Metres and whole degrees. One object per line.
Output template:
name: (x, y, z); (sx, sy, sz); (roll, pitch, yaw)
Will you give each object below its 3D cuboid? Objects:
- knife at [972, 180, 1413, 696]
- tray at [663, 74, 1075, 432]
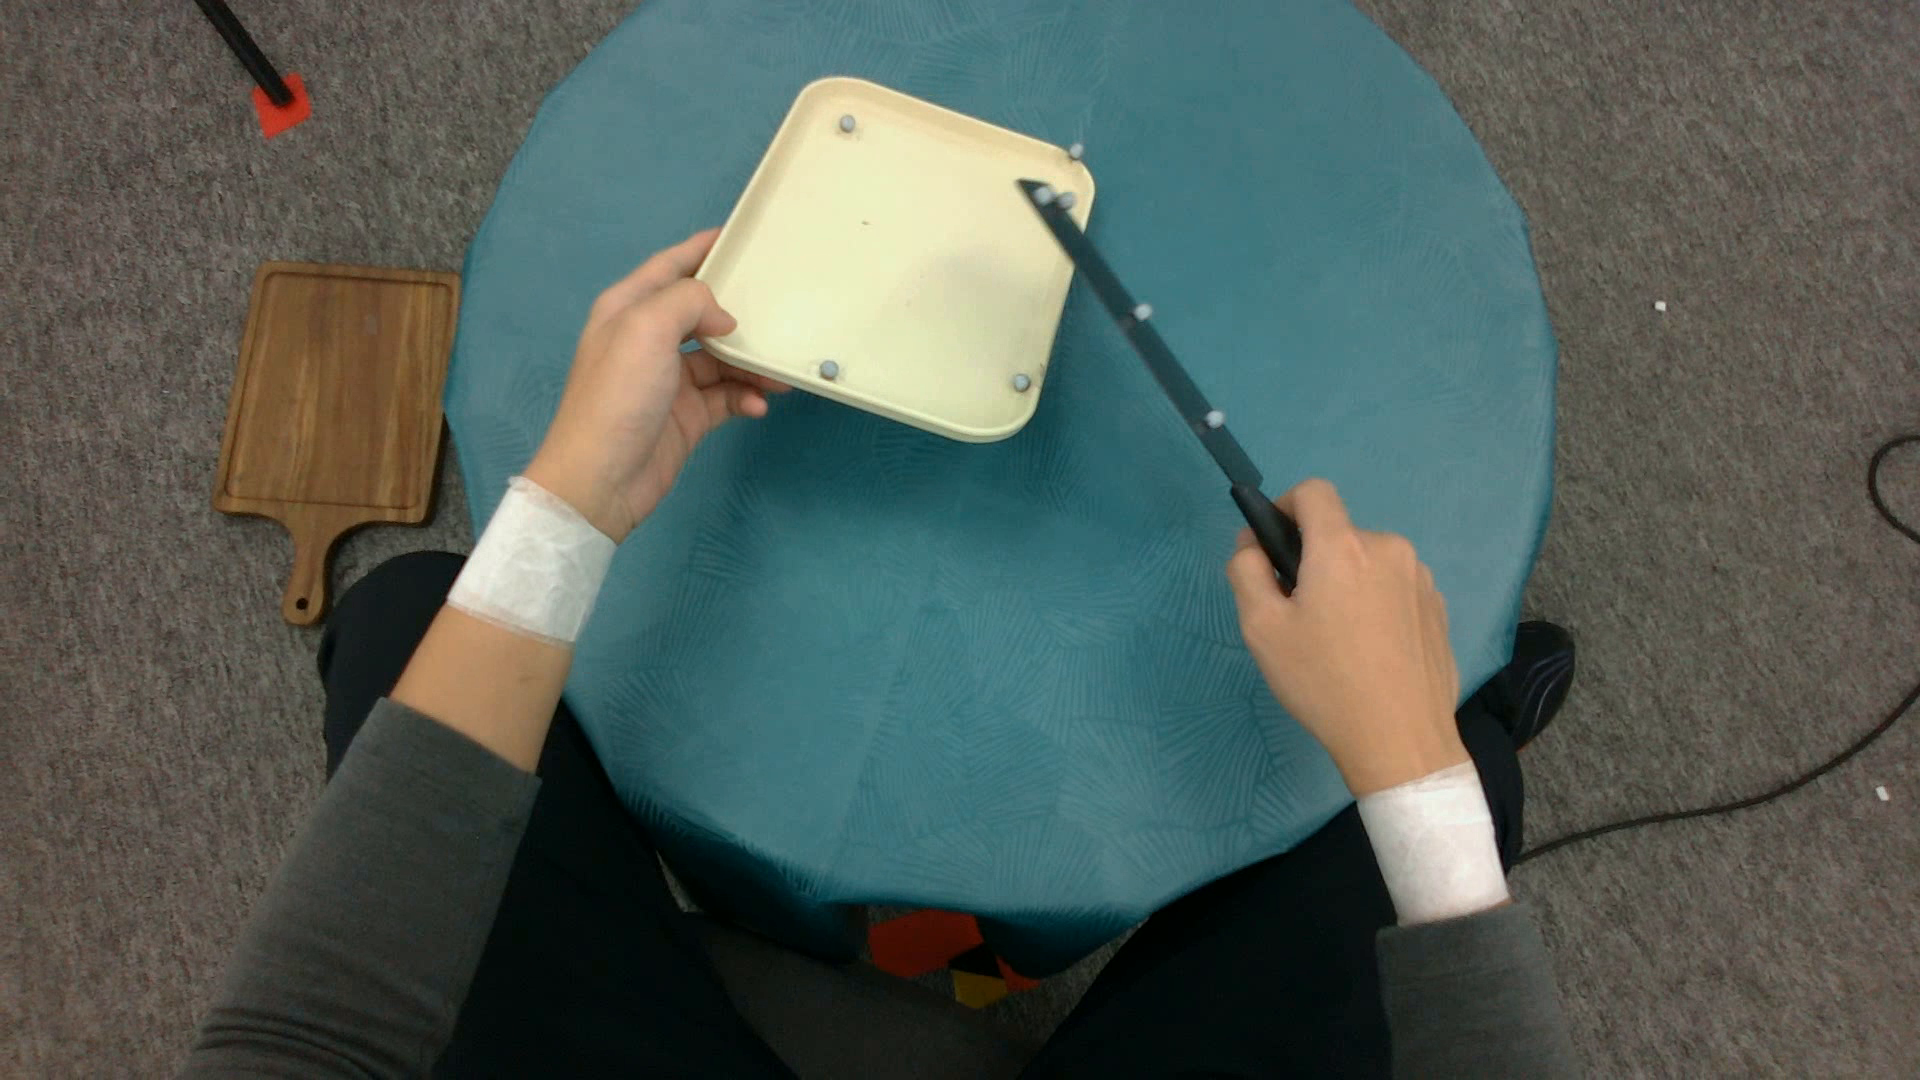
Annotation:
knife: (0.107, -0.050, 0.635); (0.021, 0.081, 0.302); (-40, 85, 23)
tray: (-0.037, -0.151, 0.694); (0.171, 0.017, 0.241); (18, 47, -2)
